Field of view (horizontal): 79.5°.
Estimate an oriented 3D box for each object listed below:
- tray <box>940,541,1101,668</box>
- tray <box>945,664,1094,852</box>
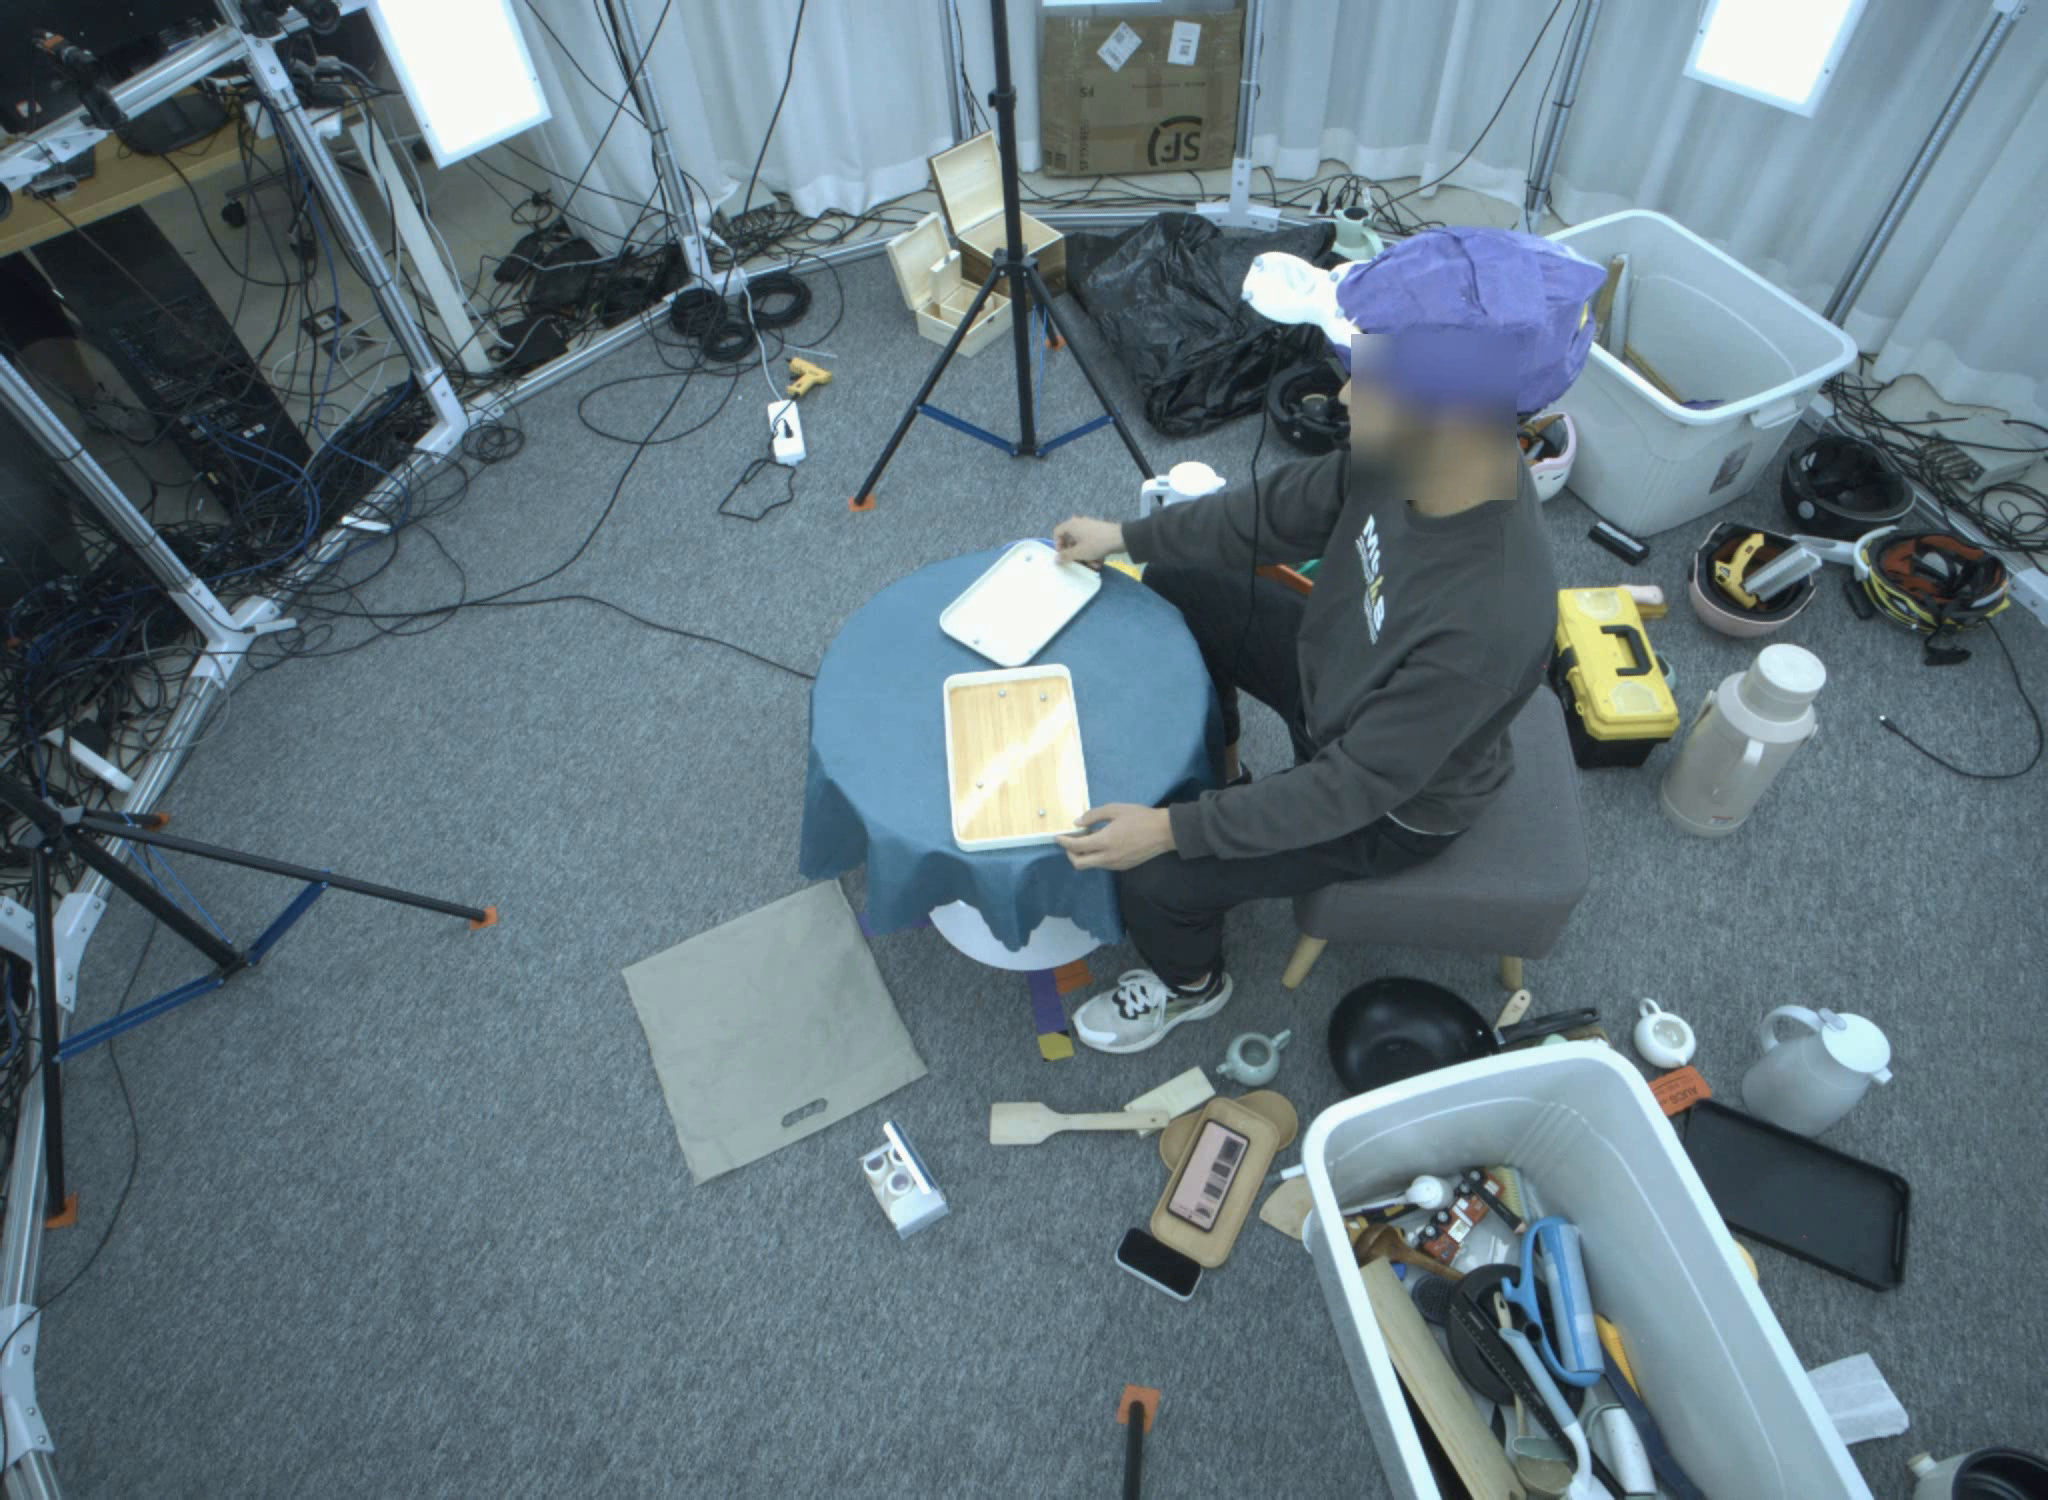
[{"bbox_3d":[-0.004,-0.231,1.940,0.168,0.017,0.241,32,61,22],"label":"tray"},{"bbox_3d":[-0.011,0.006,1.765,0.192,0.028,0.296,-5,55,-2],"label":"tray"}]
